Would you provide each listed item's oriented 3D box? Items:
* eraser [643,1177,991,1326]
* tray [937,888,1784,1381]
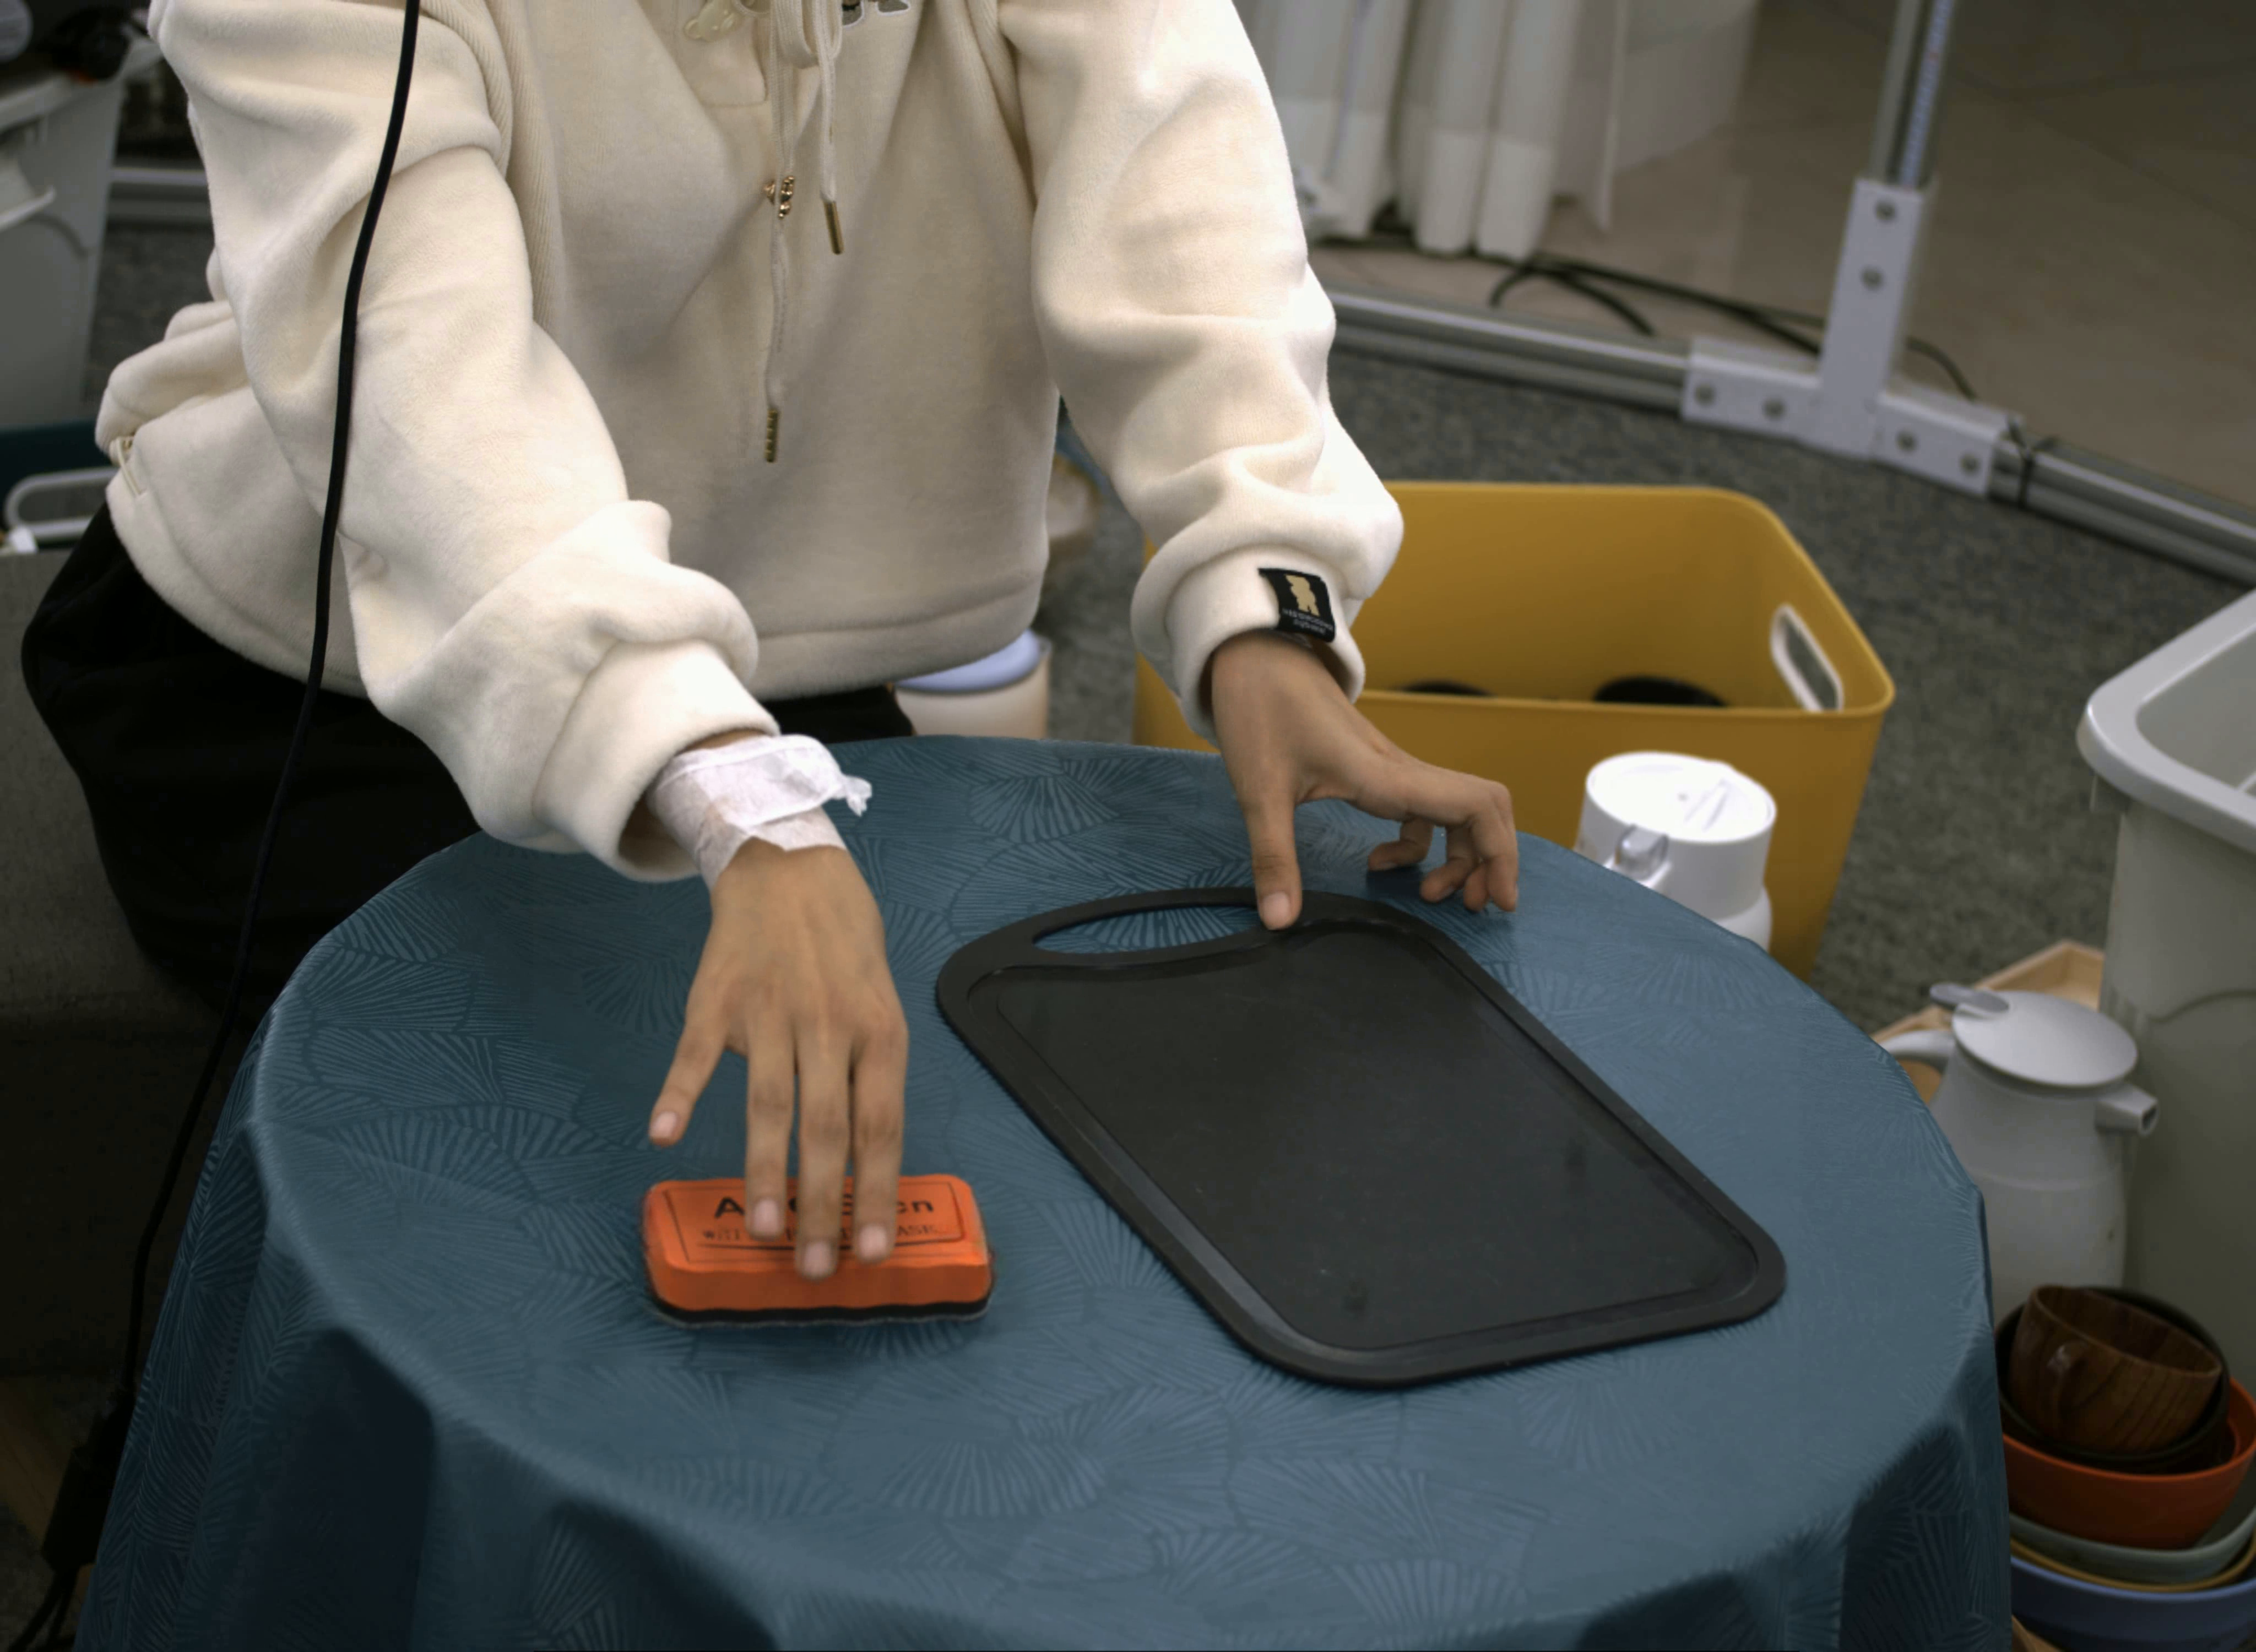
[{"bbox_3d":[-0.101,0.138,1.725,0.107,0.023,0.059,0,28,-13],"label":"eraser"},{"bbox_3d":[0.072,0.098,1.861,0.210,0.010,0.328,-8,30,-26],"label":"tray"}]
